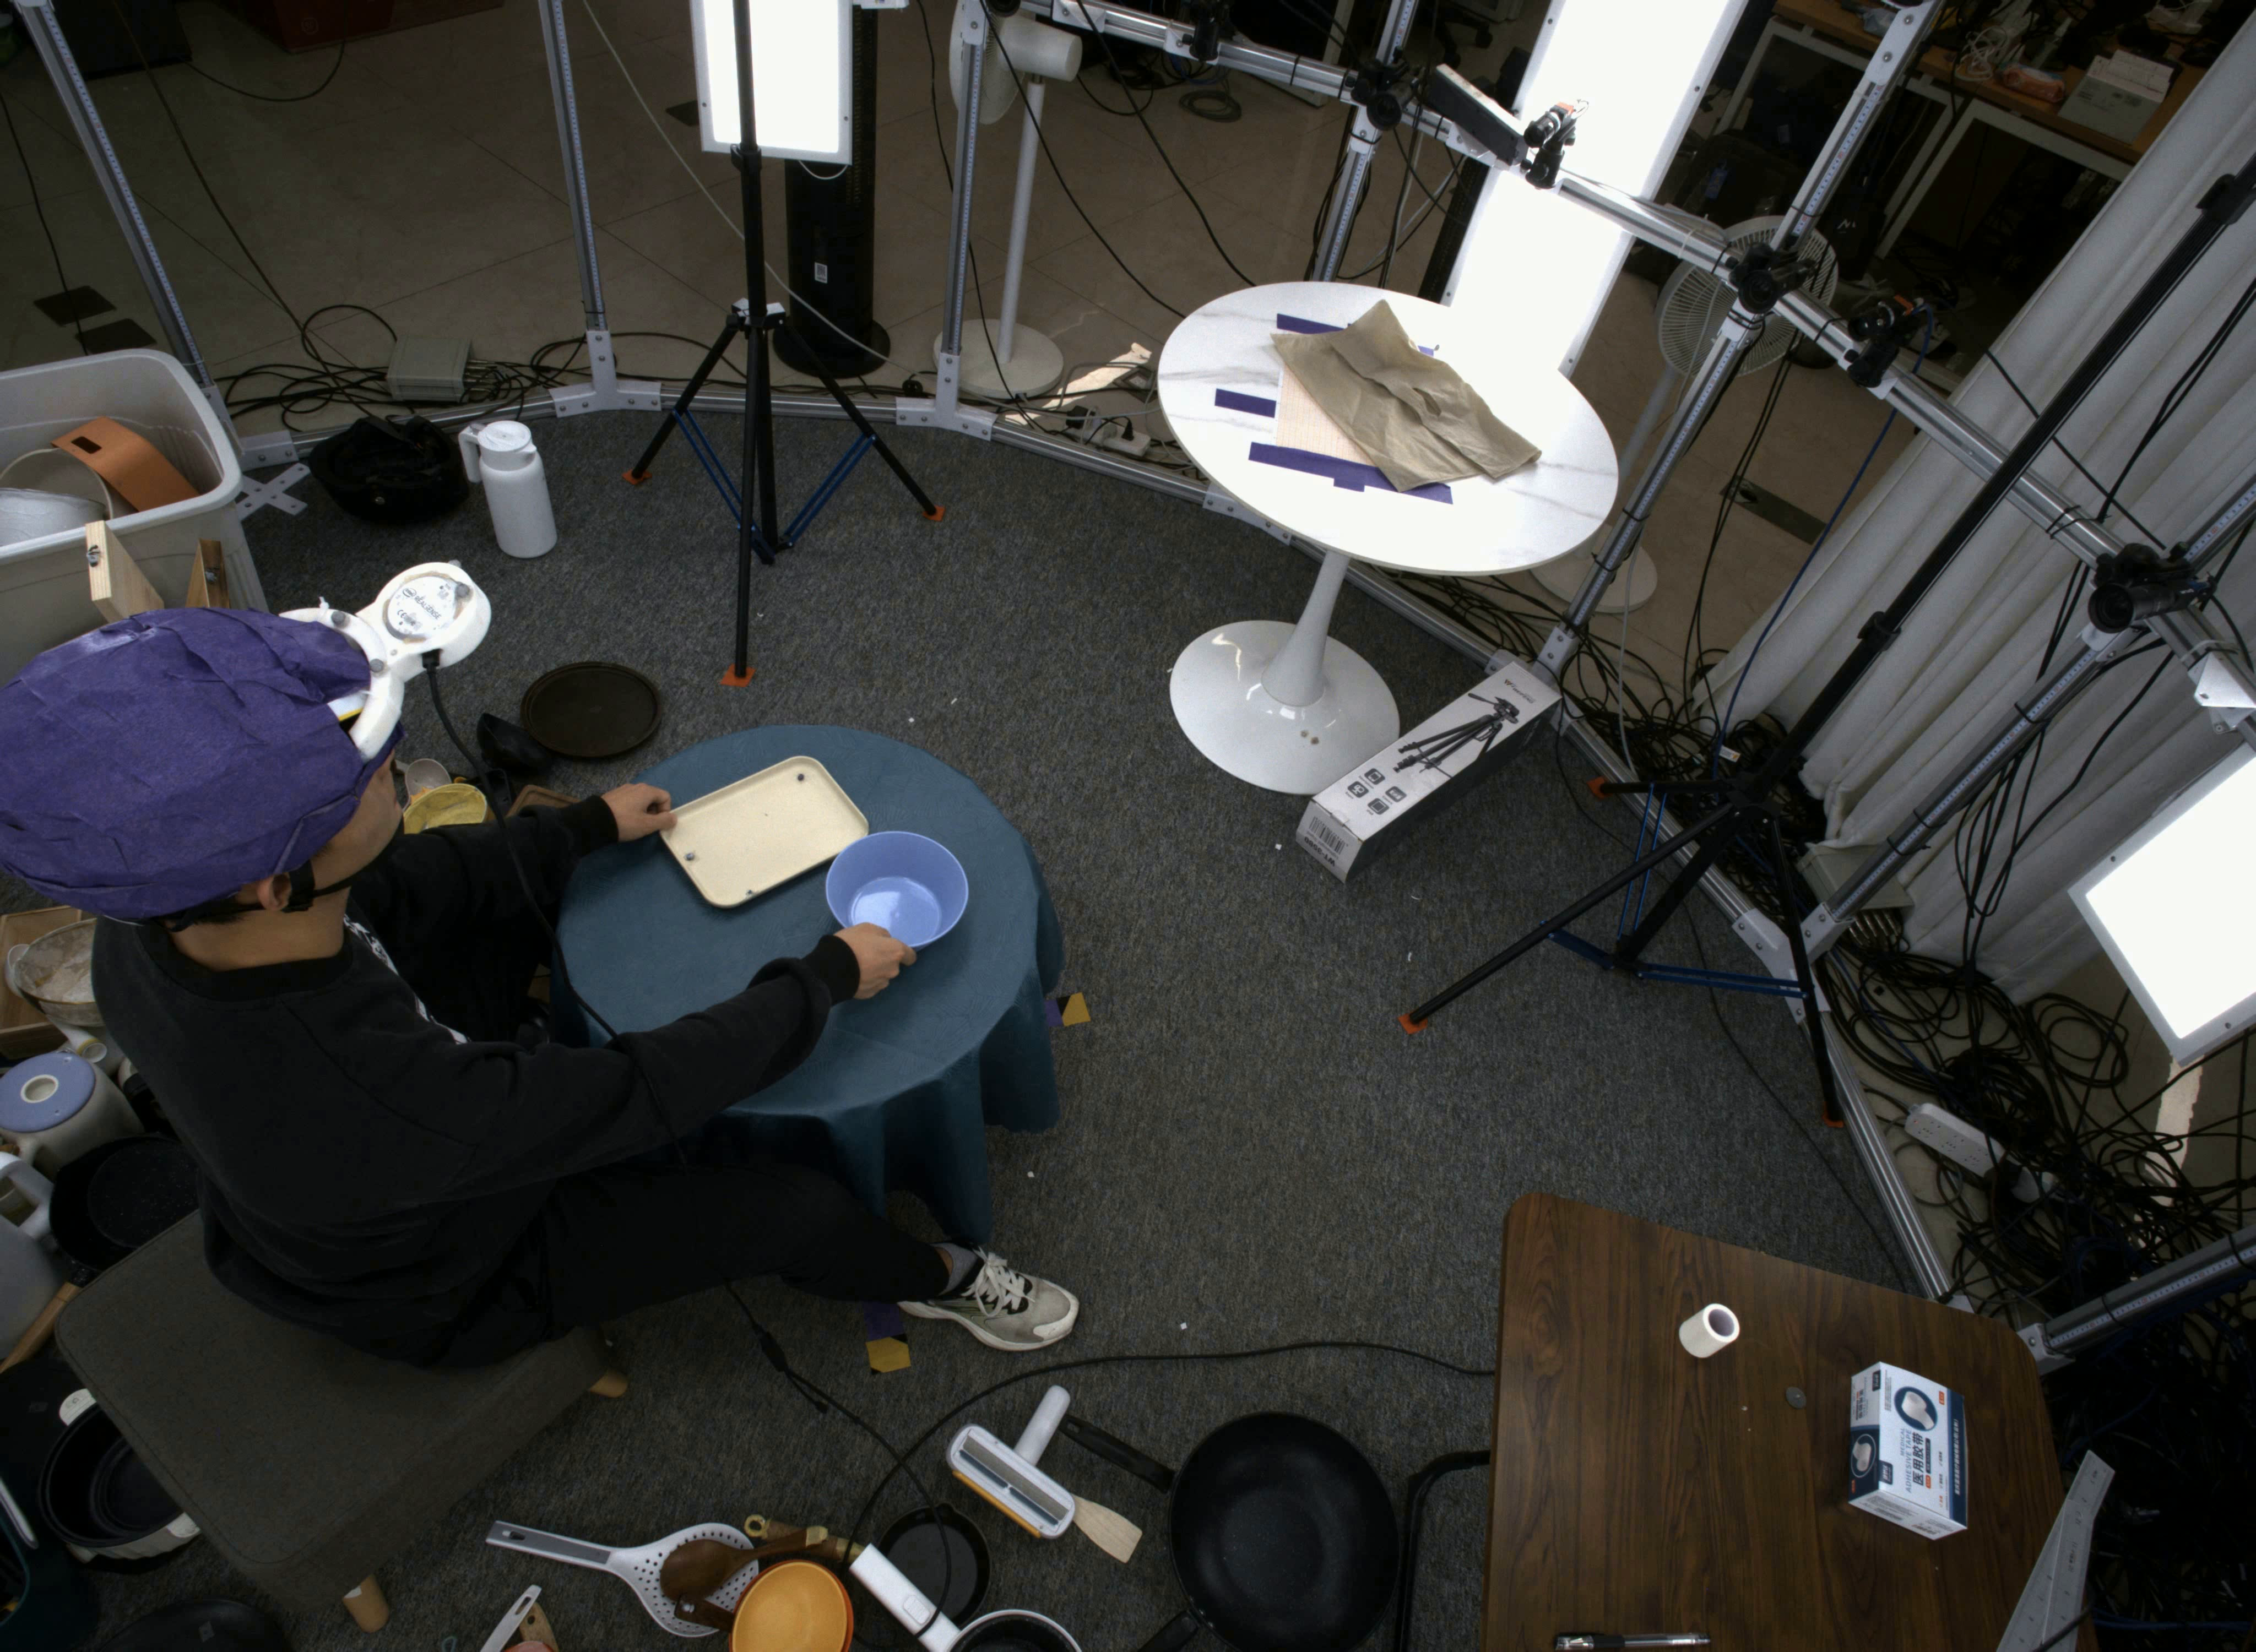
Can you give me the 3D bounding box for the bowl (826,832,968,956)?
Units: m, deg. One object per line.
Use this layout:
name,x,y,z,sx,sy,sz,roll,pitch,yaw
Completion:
bowl,-0.292,0.095,1.646,0.176,0.072,0.173,8,52,-8

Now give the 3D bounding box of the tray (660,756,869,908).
tray,-0.475,0.005,1.697,0.240,0.018,0.167,-29,66,-32
